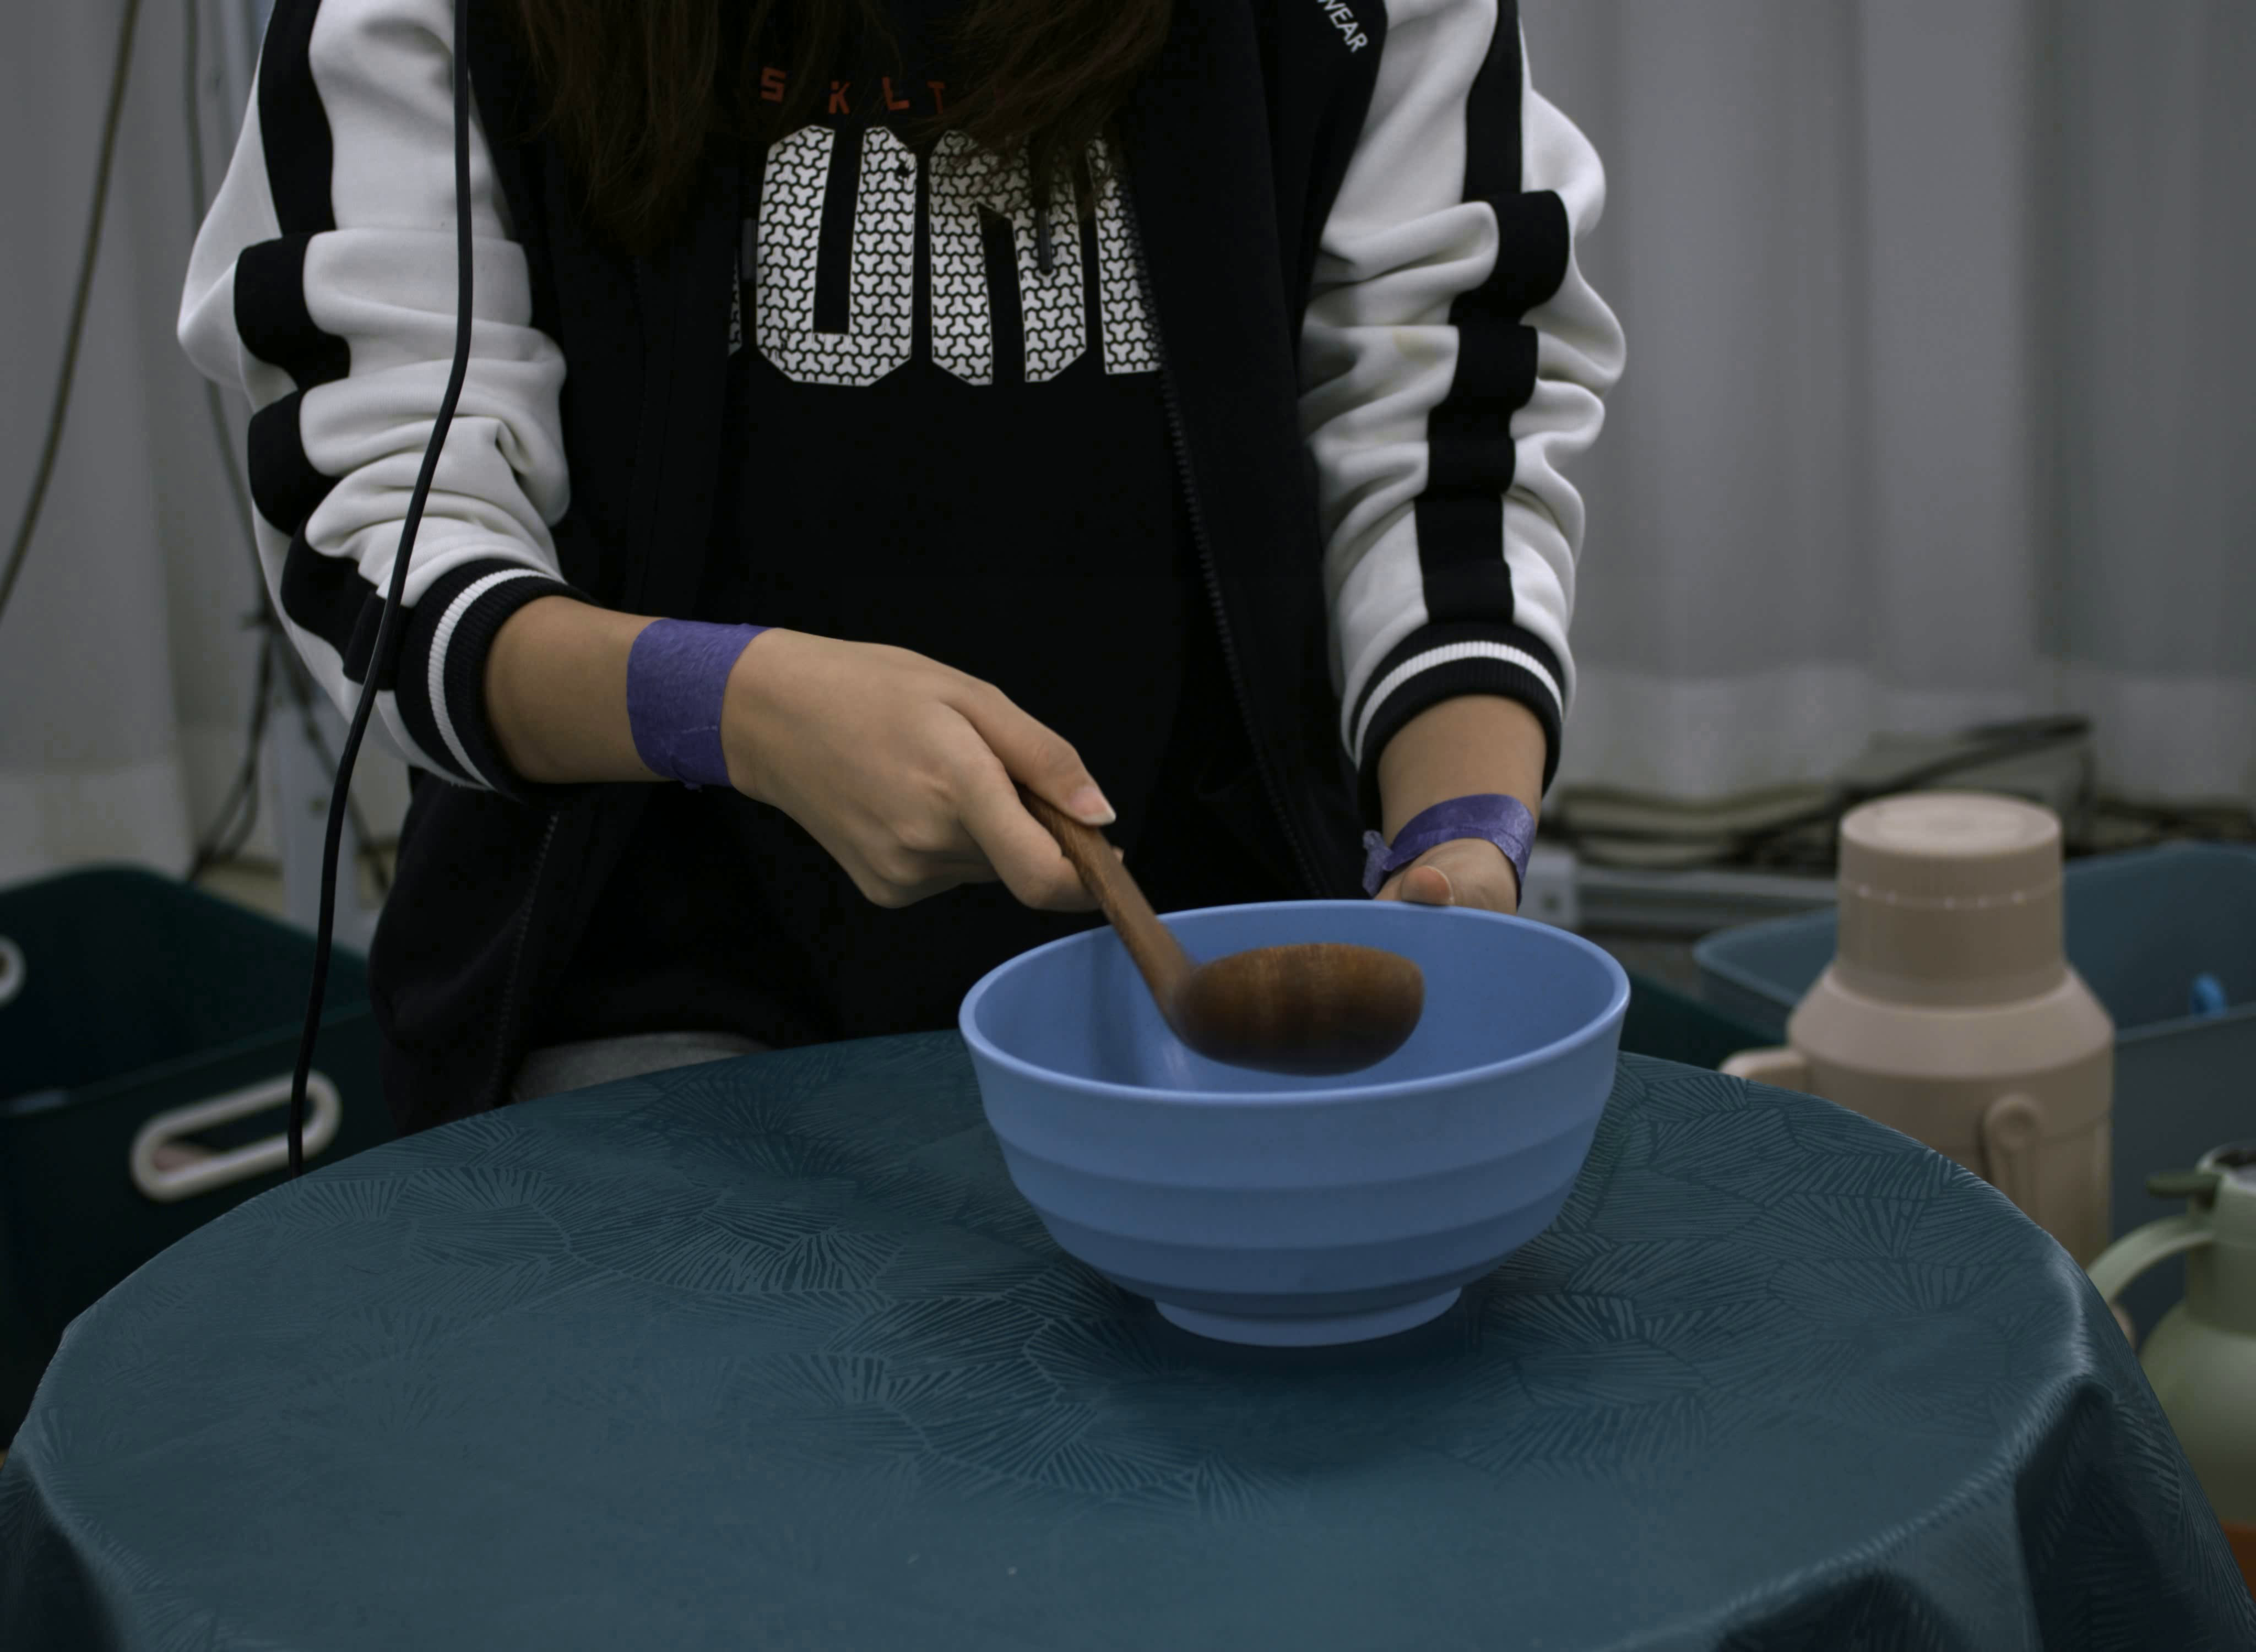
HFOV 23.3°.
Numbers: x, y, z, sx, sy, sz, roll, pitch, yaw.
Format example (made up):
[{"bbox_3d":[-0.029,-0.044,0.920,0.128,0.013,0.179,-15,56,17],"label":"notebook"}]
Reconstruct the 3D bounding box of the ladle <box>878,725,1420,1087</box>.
[{"bbox_3d":[0.000,0.009,1.660,0.075,0.065,0.263,23,12,-38],"label":"ladle"}]

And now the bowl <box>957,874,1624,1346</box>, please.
[{"bbox_3d":[0.053,0.091,1.611,0.196,0.095,0.198,-7,18,2],"label":"bowl"}]
